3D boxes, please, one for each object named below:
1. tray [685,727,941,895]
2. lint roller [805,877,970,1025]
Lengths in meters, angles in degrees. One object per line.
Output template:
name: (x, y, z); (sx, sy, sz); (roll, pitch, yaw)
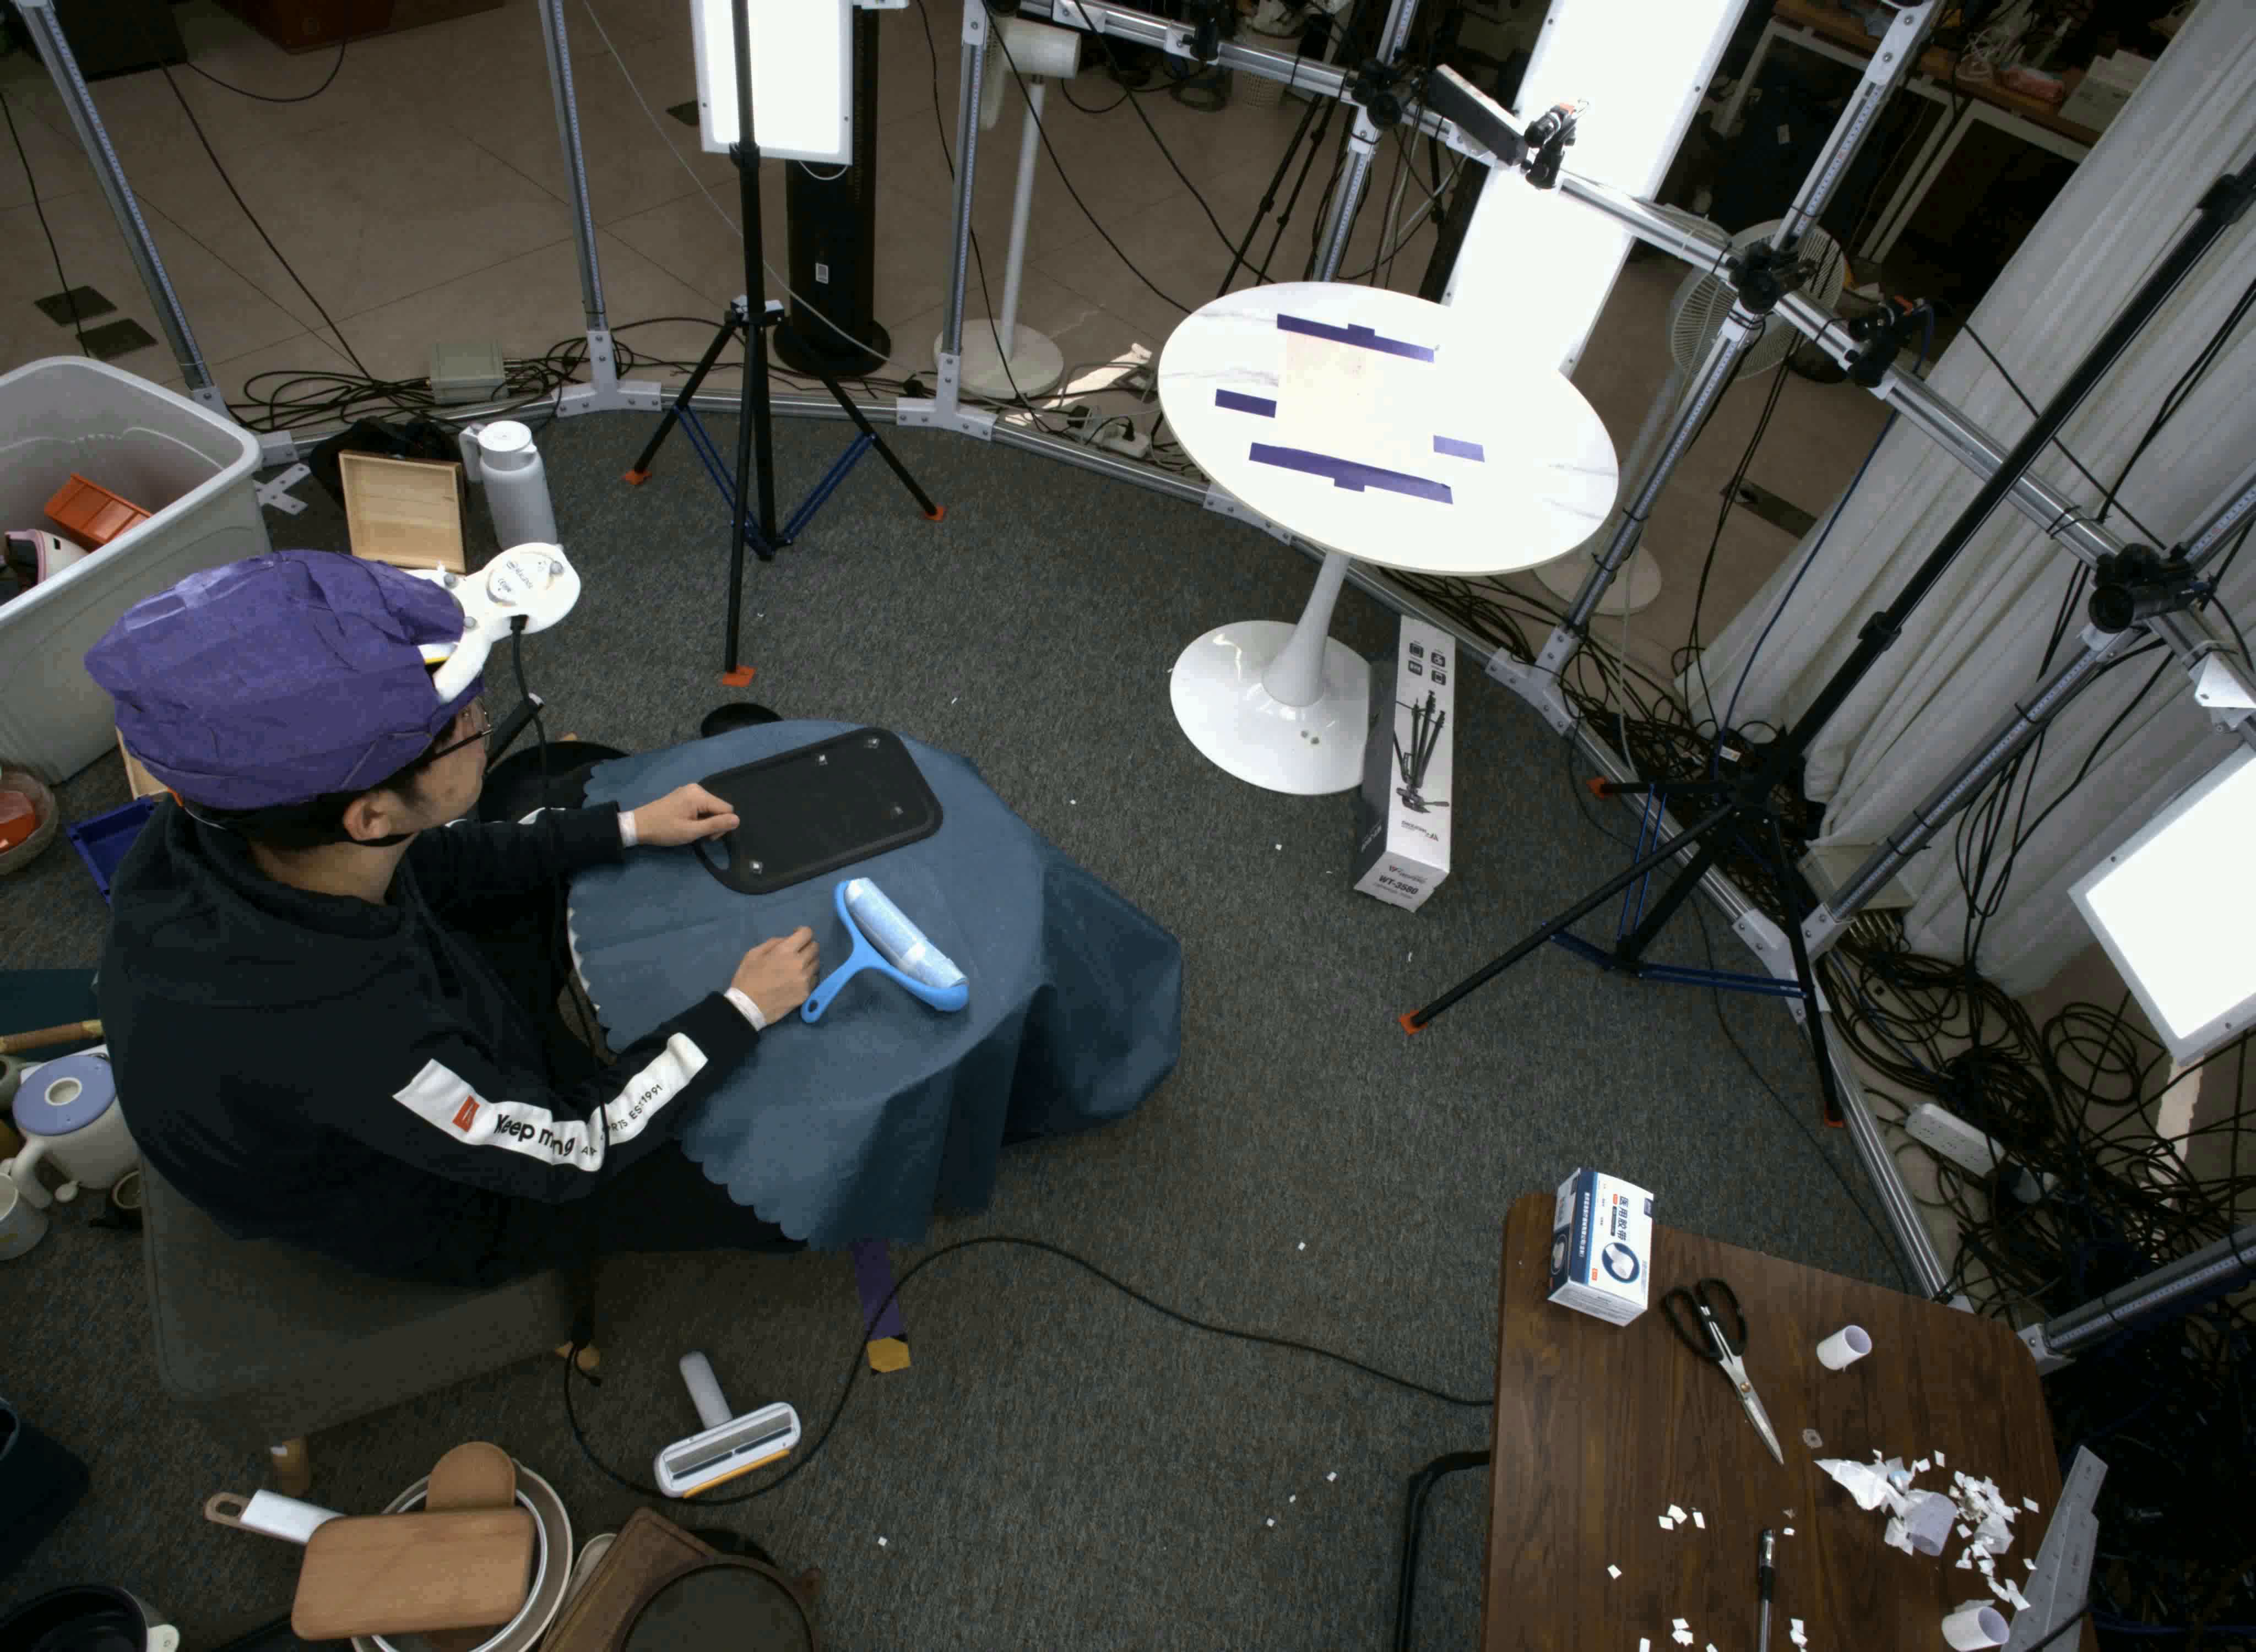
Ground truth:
tray: (-0.427, -0.025, 1.743); (0.327, 0.010, 0.206); (-20, 62, -27)
lint roller: (-0.320, 0.172, 1.593); (0.224, 0.069, 0.180); (41, 54, 14)
